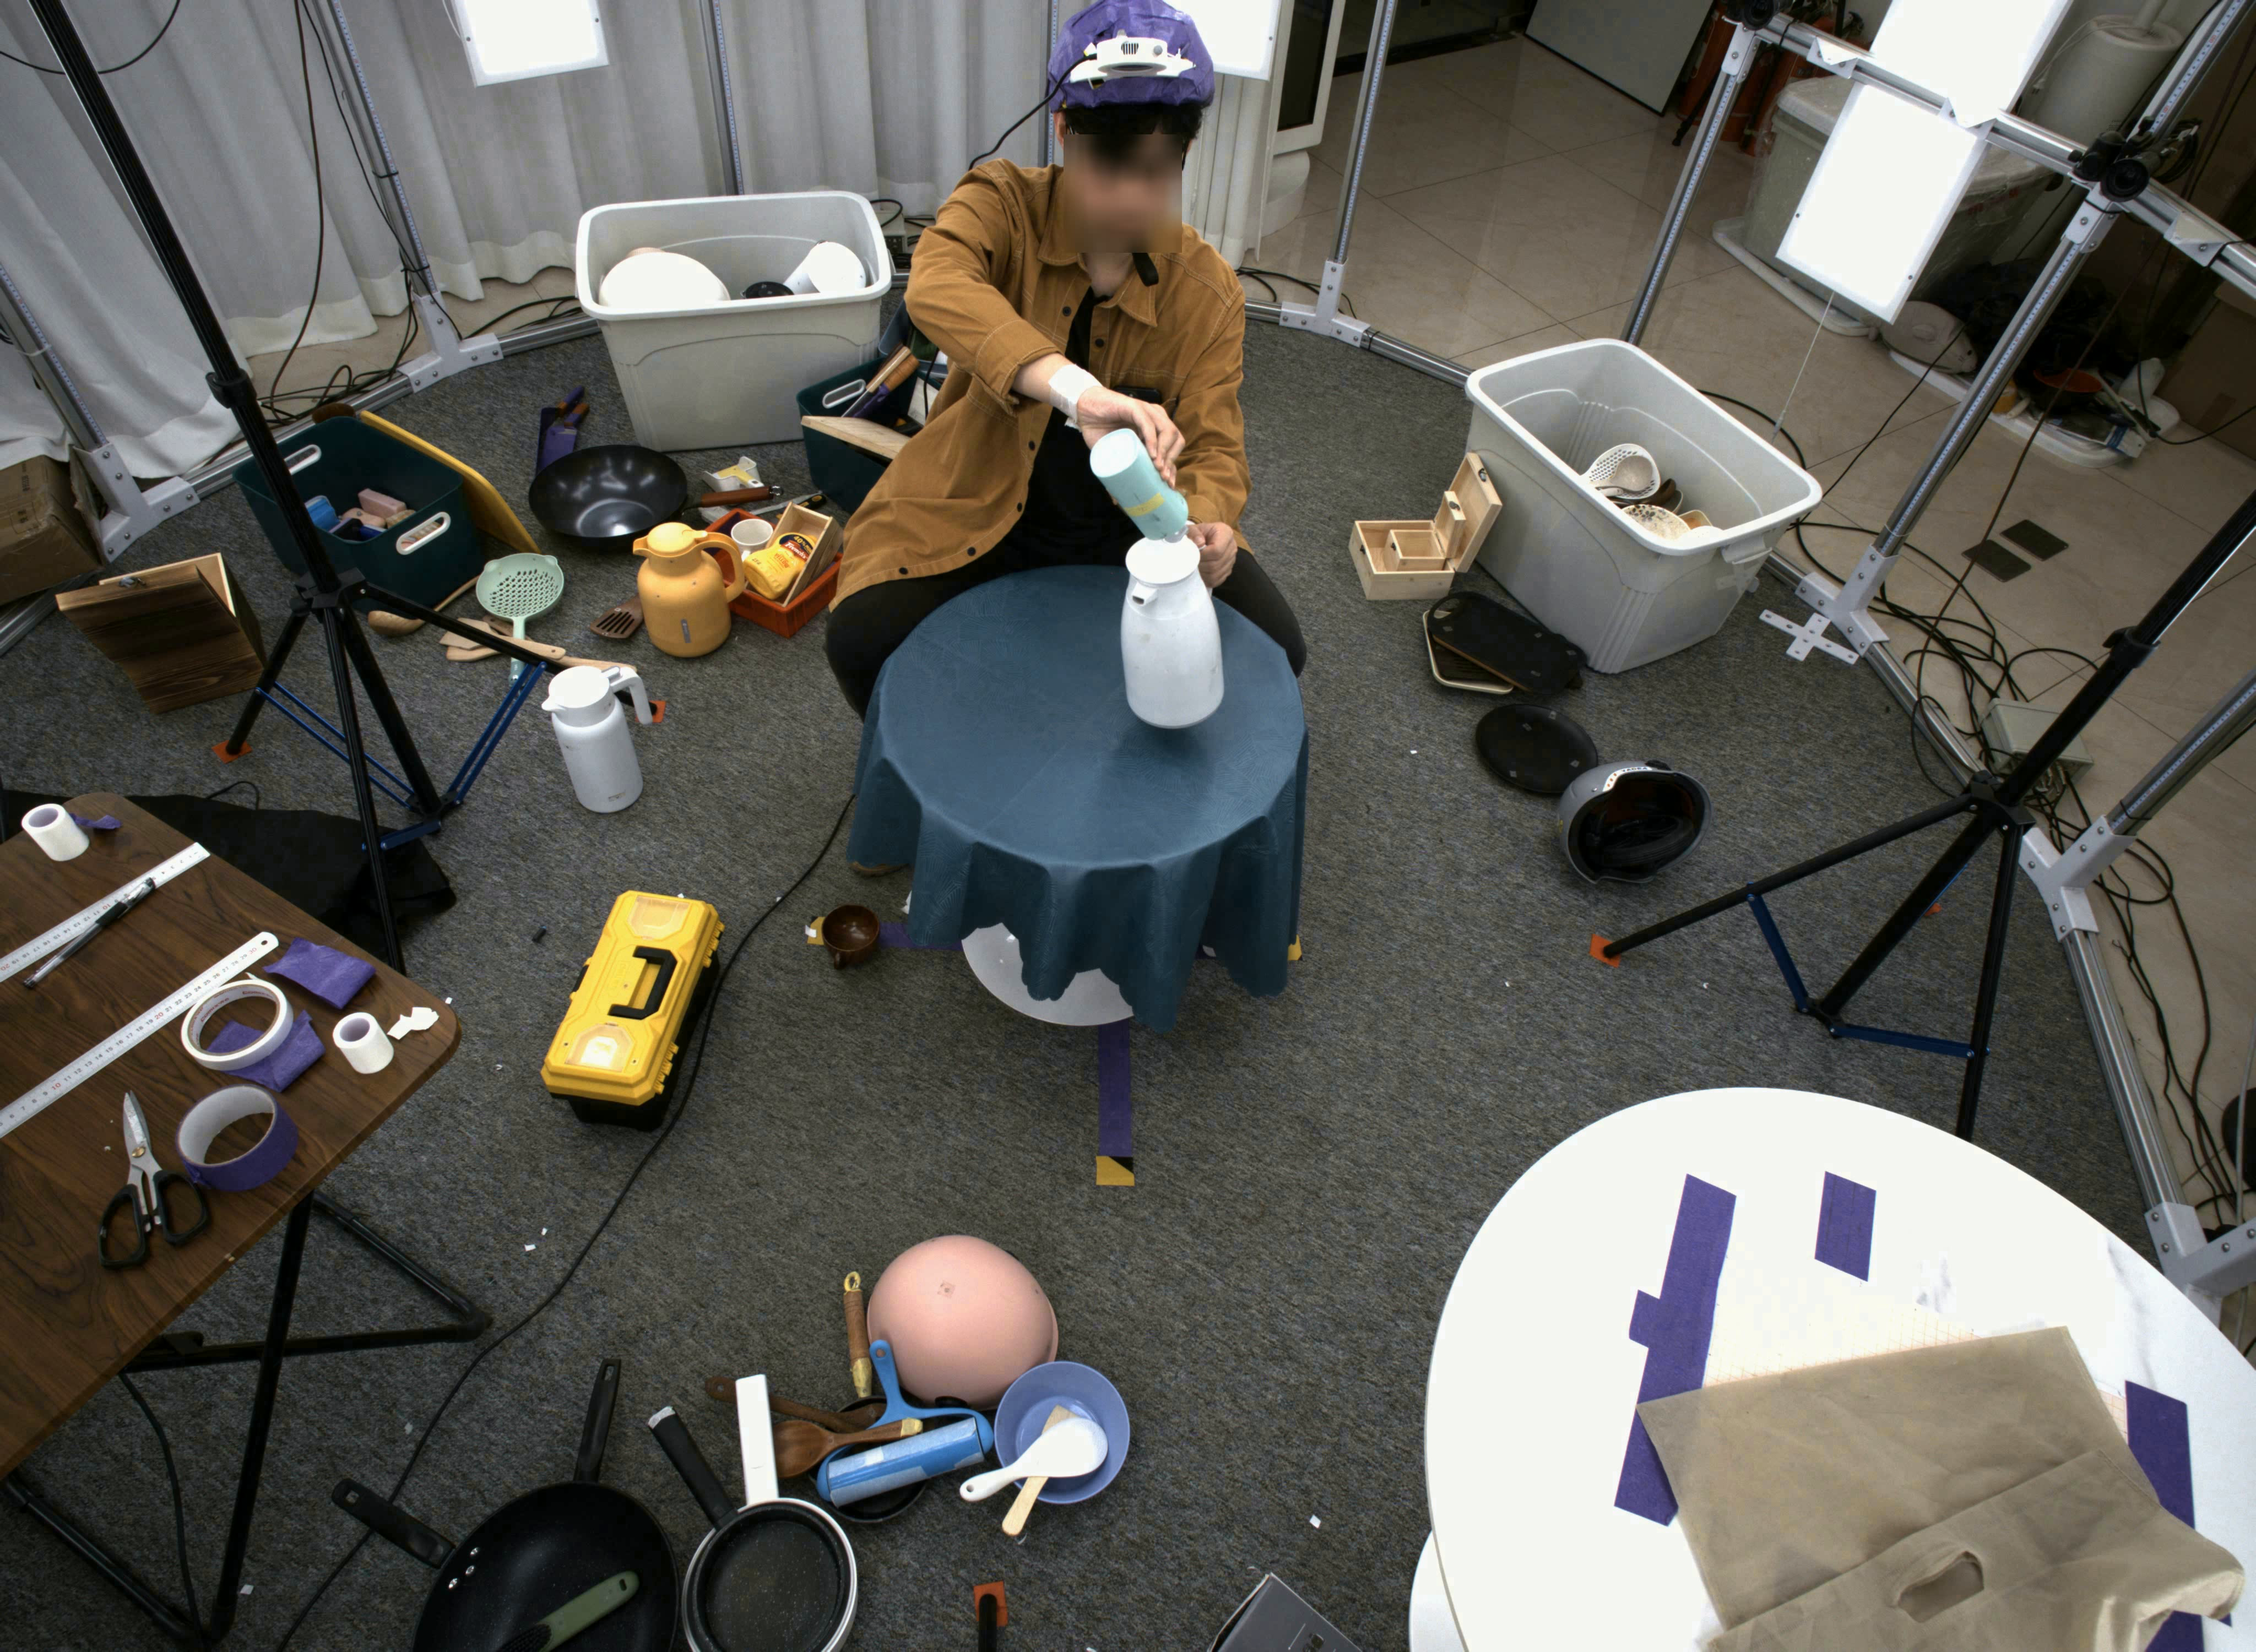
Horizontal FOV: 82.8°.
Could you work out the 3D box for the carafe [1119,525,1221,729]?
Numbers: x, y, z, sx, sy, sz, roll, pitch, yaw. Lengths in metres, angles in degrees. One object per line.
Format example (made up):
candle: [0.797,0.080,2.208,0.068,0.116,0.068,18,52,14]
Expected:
carafe: [0.061,-0.268,1.656,0.134,0.242,0.170,23,57,22]

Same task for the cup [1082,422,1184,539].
cup: [0.007,-0.388,1.454,0.066,0.130,0.068,-13,62,25]
